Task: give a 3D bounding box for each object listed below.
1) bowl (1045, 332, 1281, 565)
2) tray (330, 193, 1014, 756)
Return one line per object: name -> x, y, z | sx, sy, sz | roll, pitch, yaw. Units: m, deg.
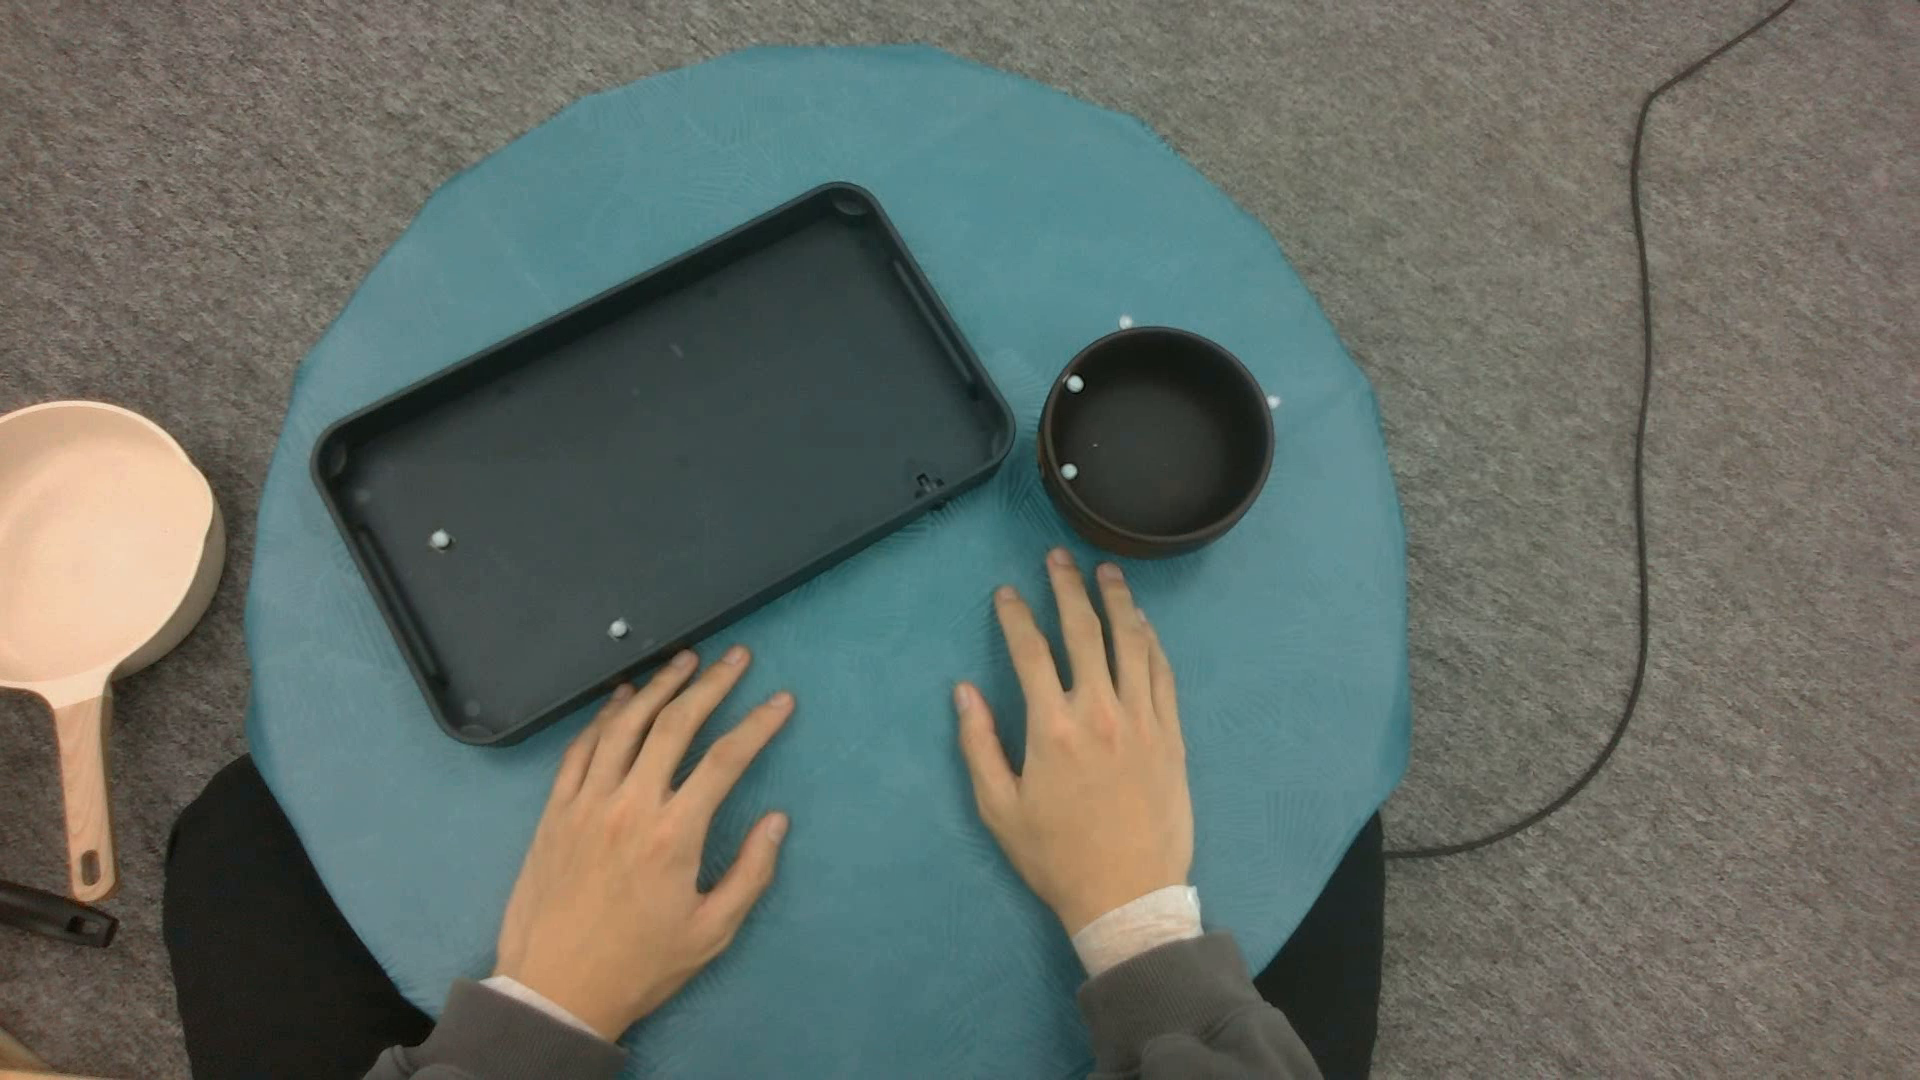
bowl -> 0.102, -0.043, 0.720 | 0.118, 0.069, 0.118 | 1, 75, -3
tray -> -0.145, -0.040, 0.724 | 0.318, 0.037, 0.184 | -31, 78, -12
